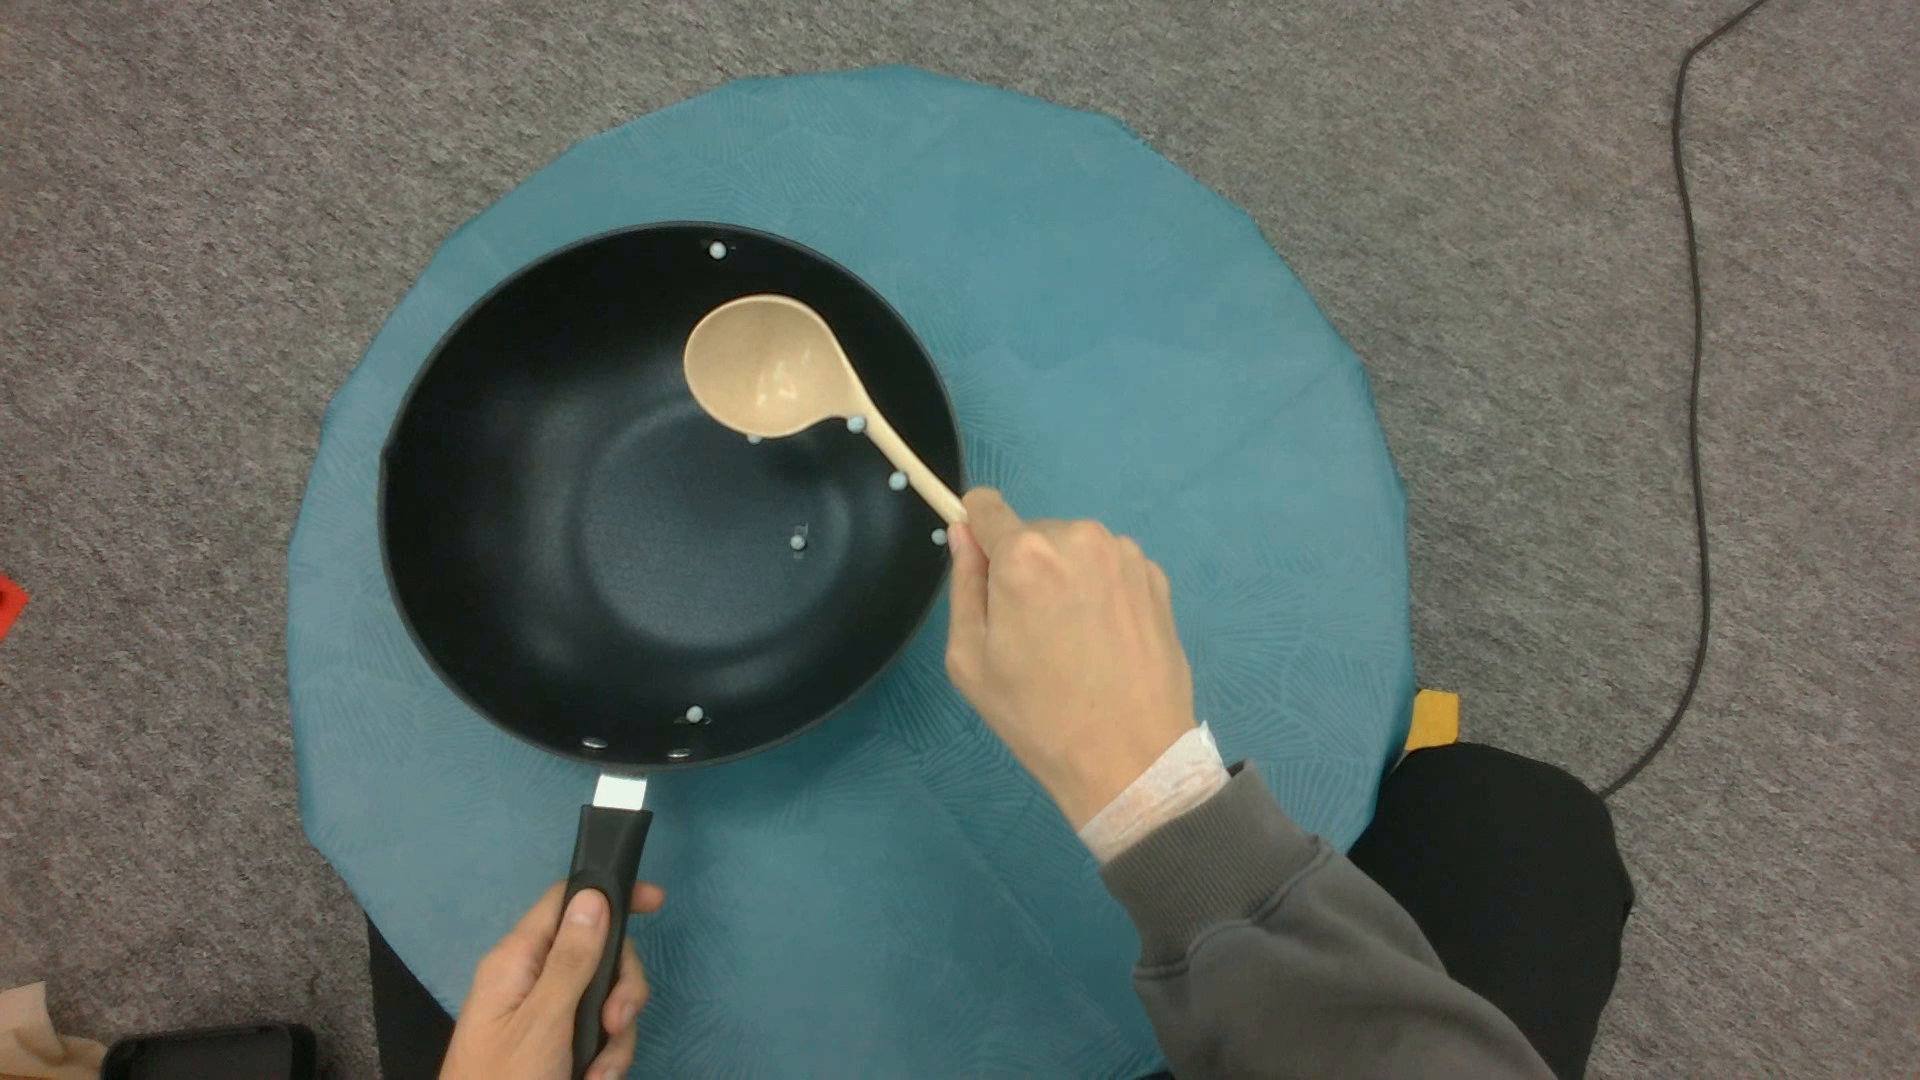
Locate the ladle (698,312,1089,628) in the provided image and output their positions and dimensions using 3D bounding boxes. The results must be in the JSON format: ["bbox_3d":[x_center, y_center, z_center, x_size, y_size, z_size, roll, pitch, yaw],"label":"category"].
[{"bbox_3d":[-0.042,-0.030,0.618,0.073,0.072,0.255,0,29,-35],"label":"ladle"}]

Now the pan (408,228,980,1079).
[{"bbox_3d":[-0.143,0.071,0.694,0.288,0.086,0.464,7,76,3],"label":"pan"}]
